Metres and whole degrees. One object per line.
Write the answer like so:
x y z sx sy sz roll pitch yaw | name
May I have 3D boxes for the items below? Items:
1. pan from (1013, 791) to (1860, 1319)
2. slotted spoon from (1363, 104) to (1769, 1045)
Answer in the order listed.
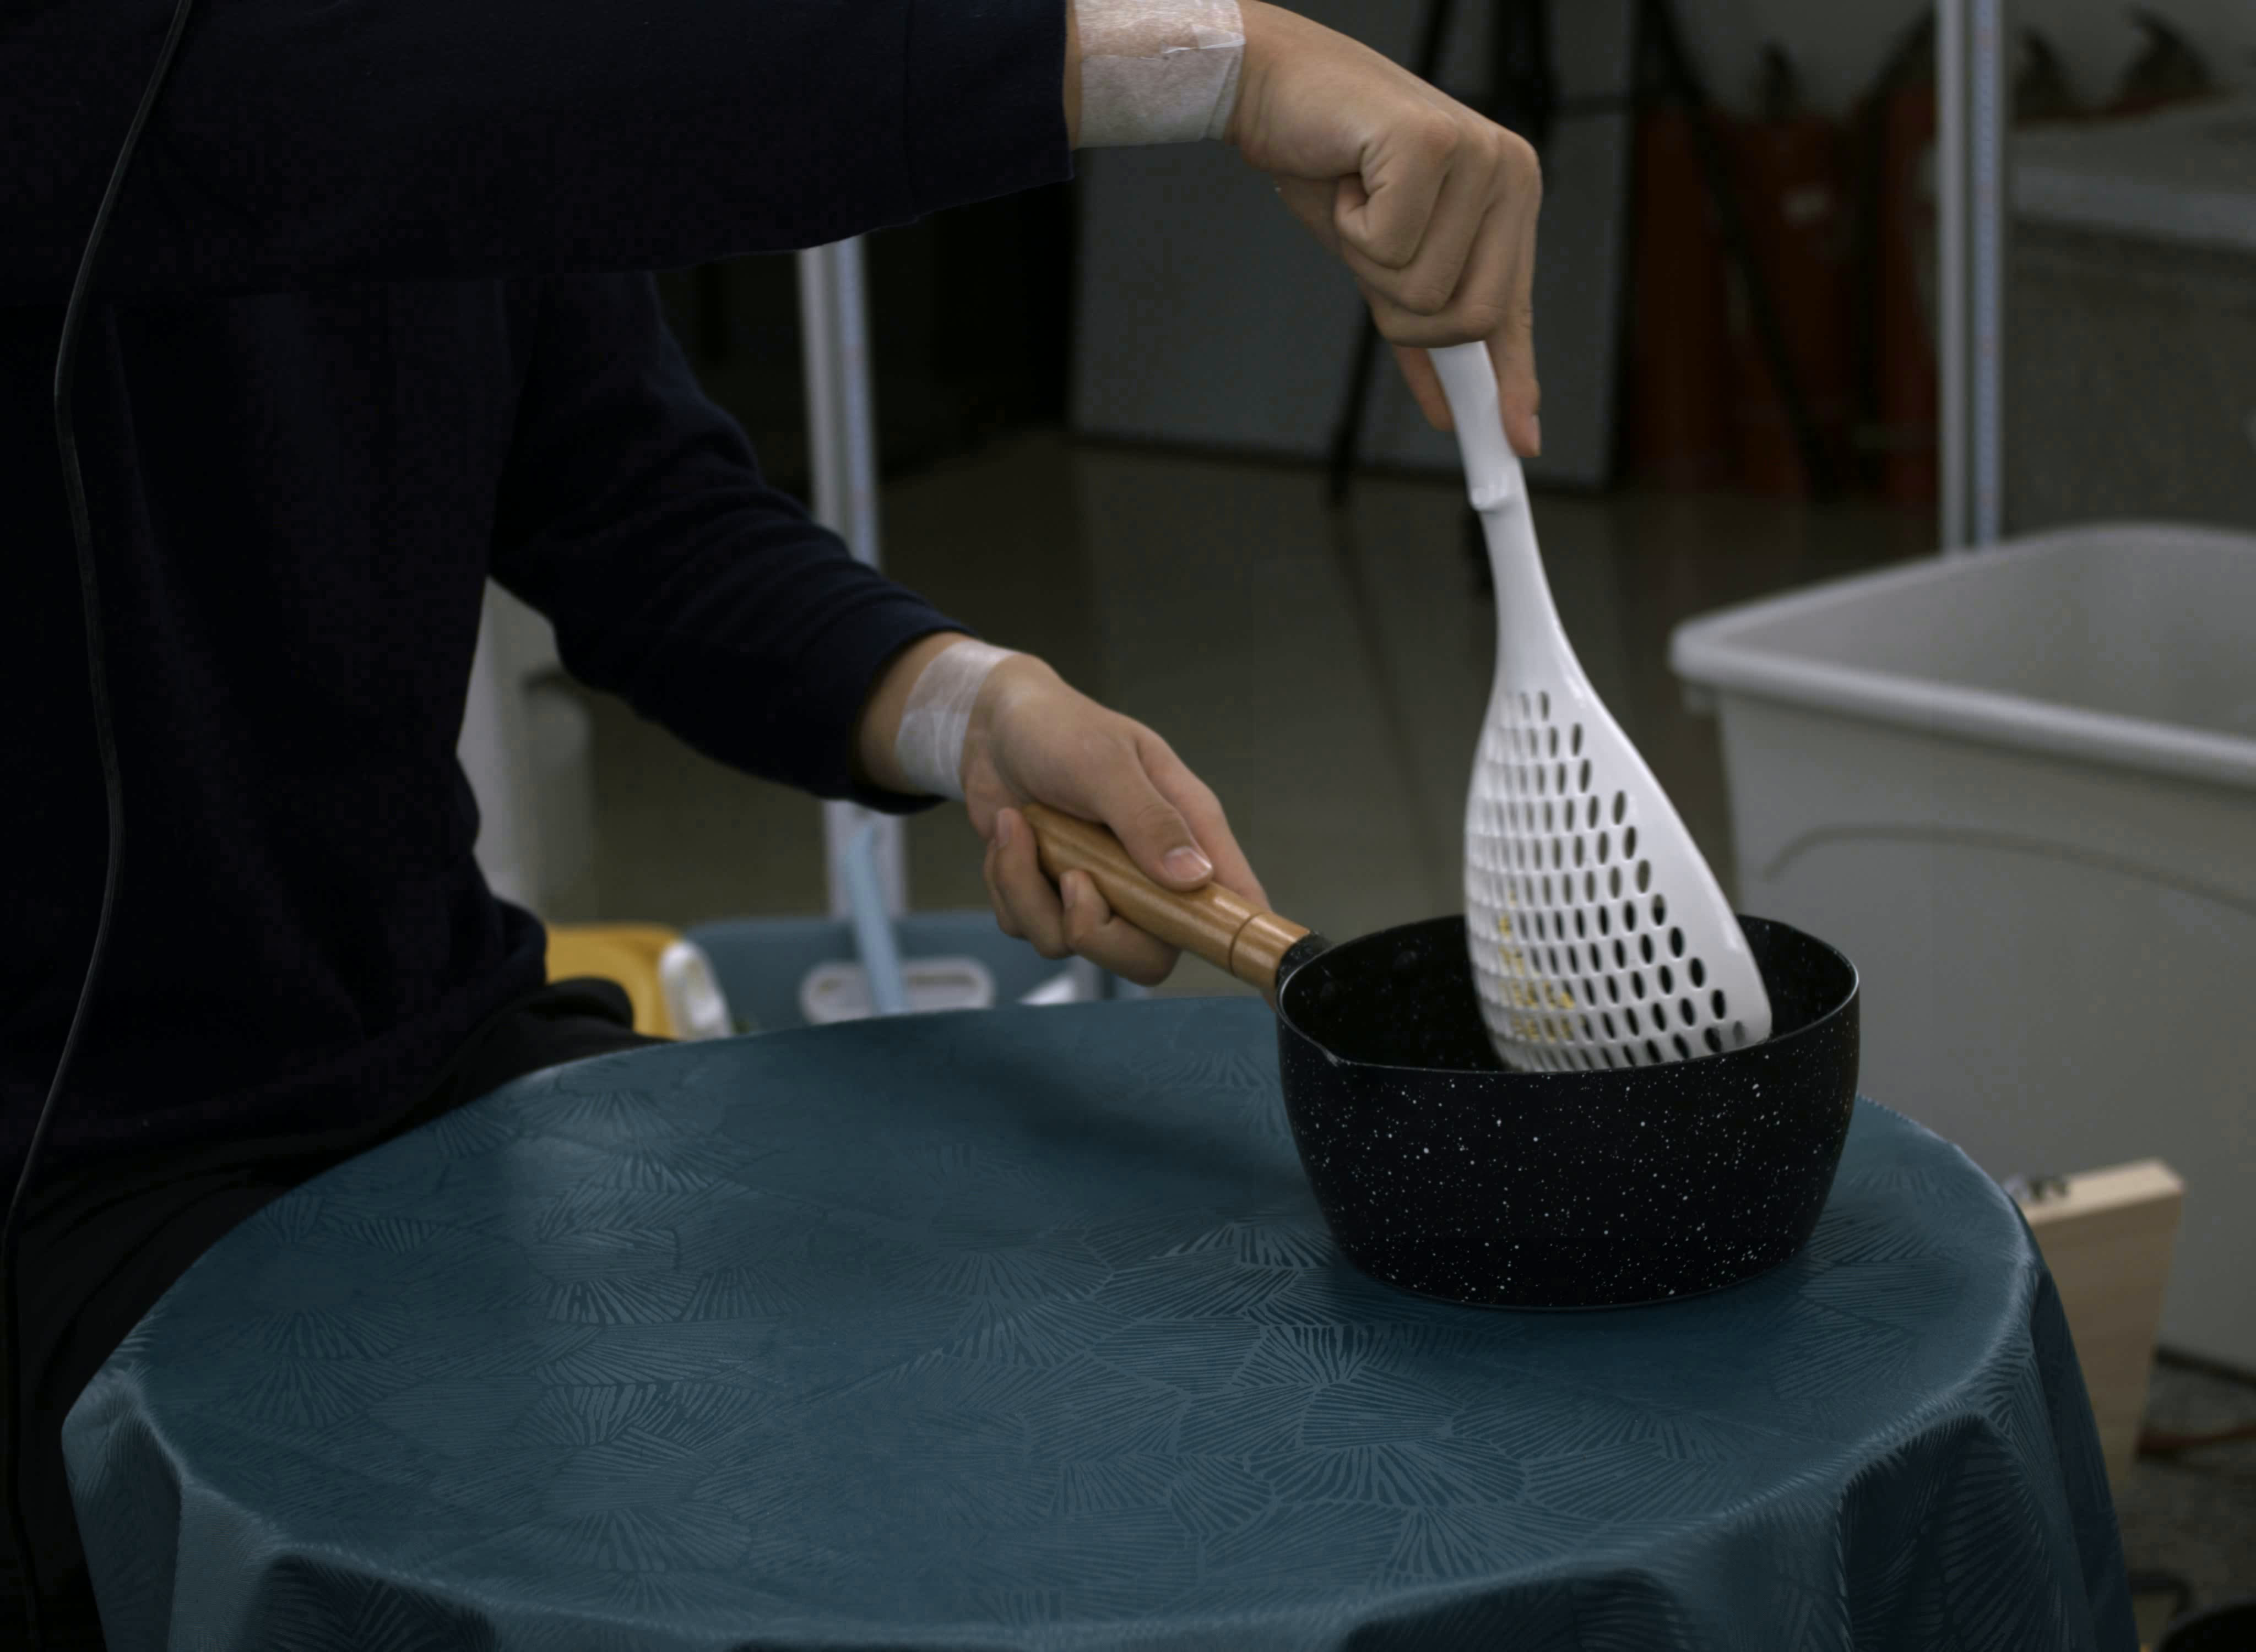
0.083 0.067 1.740 0.203 0.109 0.346 -18 20 -41 | pan
0.119 -0.053 1.676 0.049 0.351 0.138 -17 11 -34 | slotted spoon
